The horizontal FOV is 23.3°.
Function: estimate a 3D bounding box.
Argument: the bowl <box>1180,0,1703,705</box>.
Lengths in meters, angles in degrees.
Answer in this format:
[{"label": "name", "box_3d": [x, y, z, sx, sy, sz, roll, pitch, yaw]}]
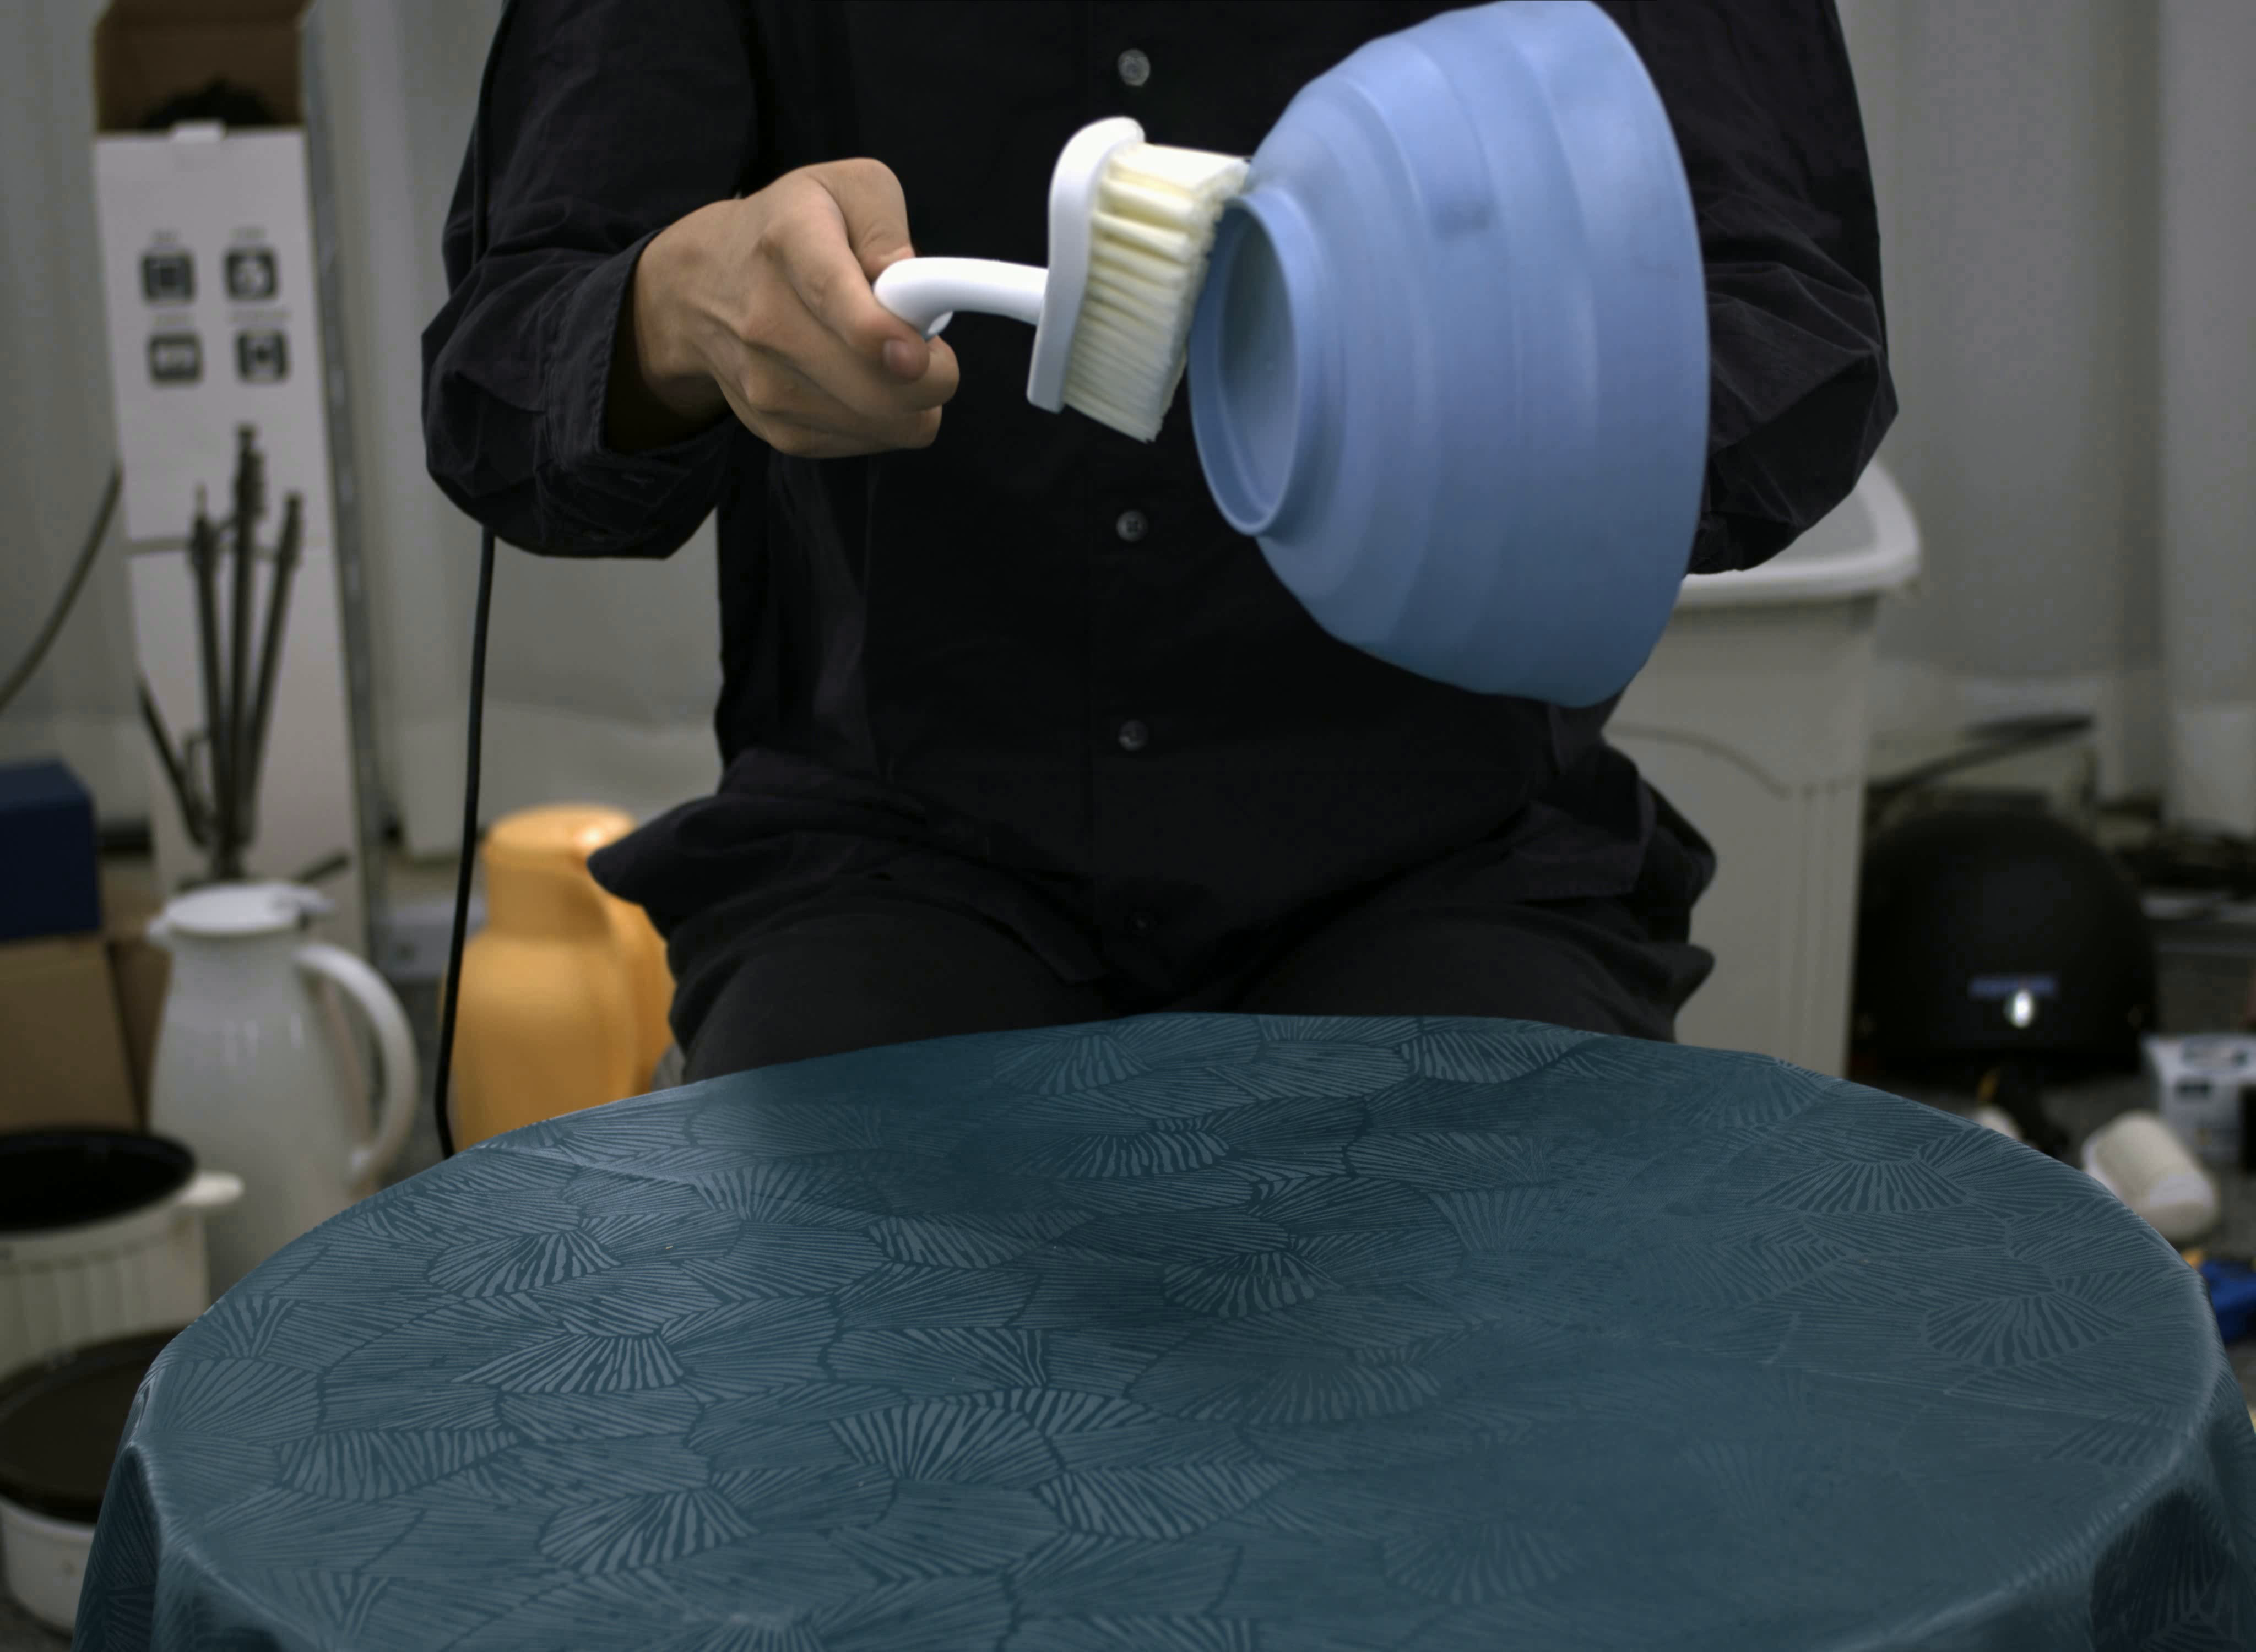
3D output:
[{"label": "bowl", "box_3d": [0.073, -0.128, 1.489, 0.095, 0.196, 0.198, -4, 14, -18]}]

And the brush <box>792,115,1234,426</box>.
[{"label": "brush", "box_3d": [-0.021, -0.149, 1.612, 0.083, 0.084, 0.325, -33, 2, -16]}]
